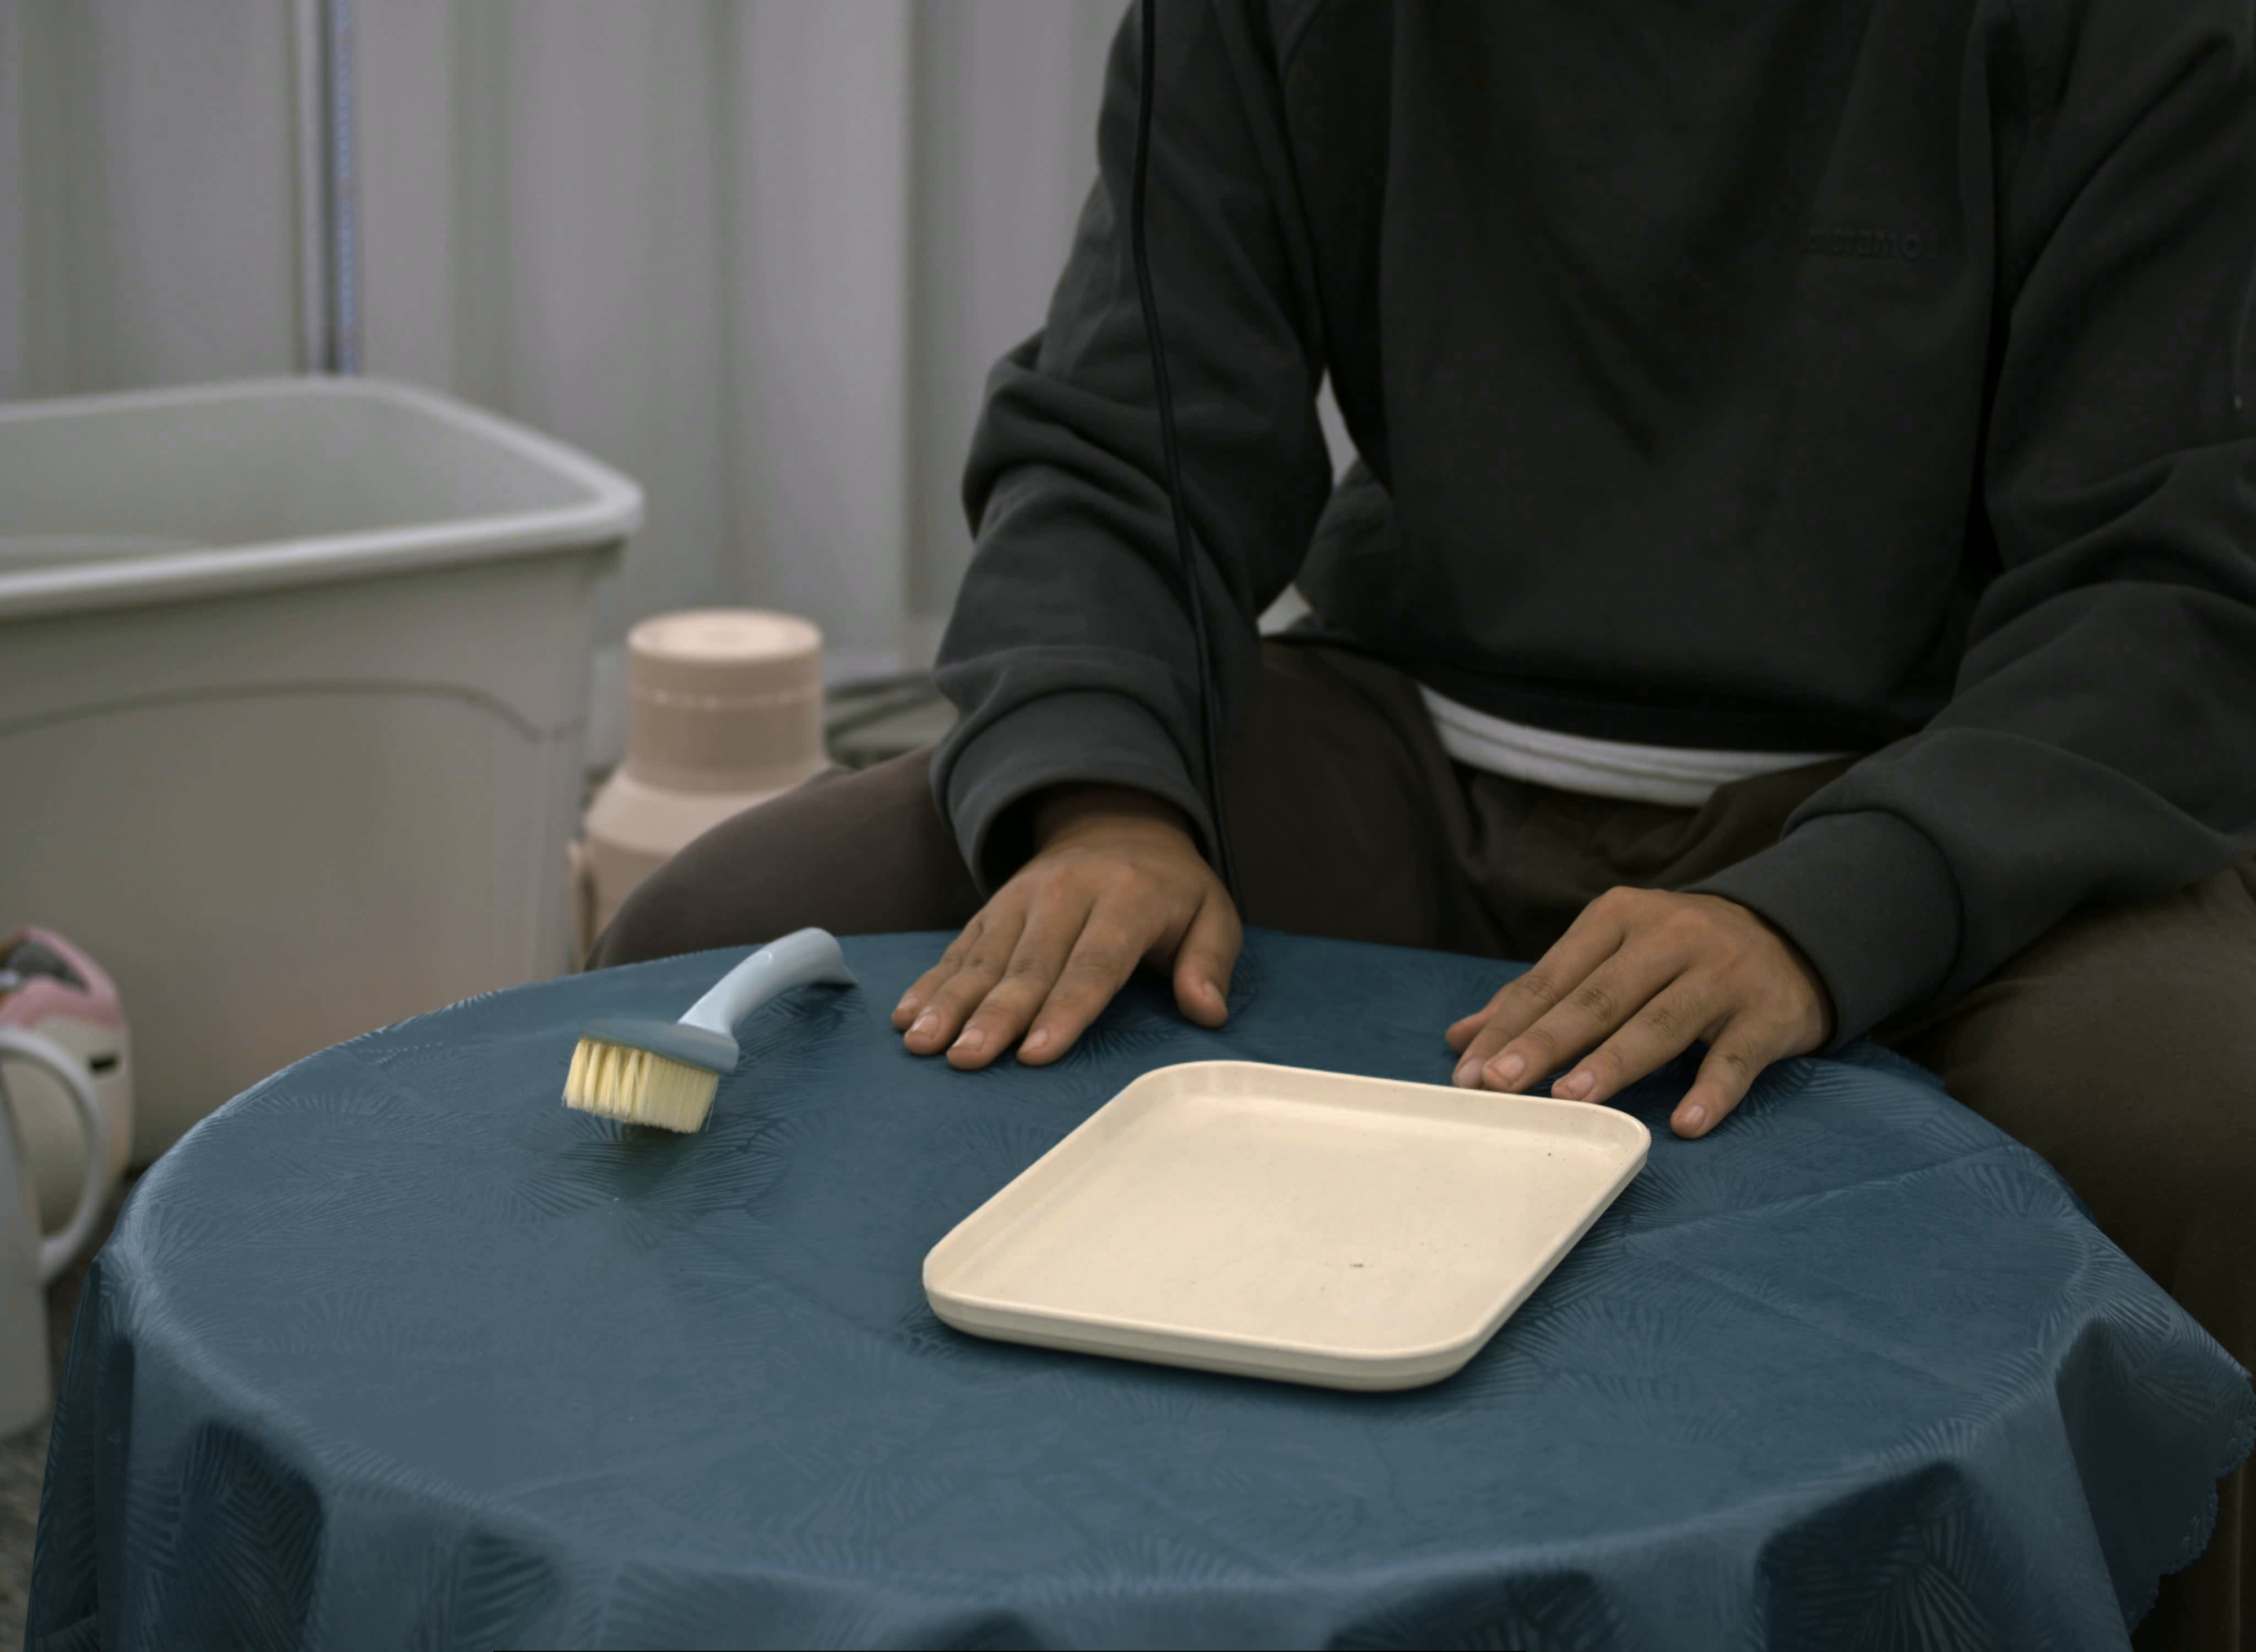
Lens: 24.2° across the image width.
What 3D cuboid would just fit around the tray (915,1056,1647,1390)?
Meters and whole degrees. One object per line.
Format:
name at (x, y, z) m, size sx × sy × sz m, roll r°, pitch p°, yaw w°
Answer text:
tray at (0.050, 0.117, 1.577) m, size 0.169 × 0.017 × 0.240 m, roll 7°, pitch 16°, yaw 19°

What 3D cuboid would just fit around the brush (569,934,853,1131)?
brush at (-0.133, 0.068, 1.723) m, size 0.037 × 0.050 × 0.229 m, roll 11°, pitch 9°, yaw 12°
